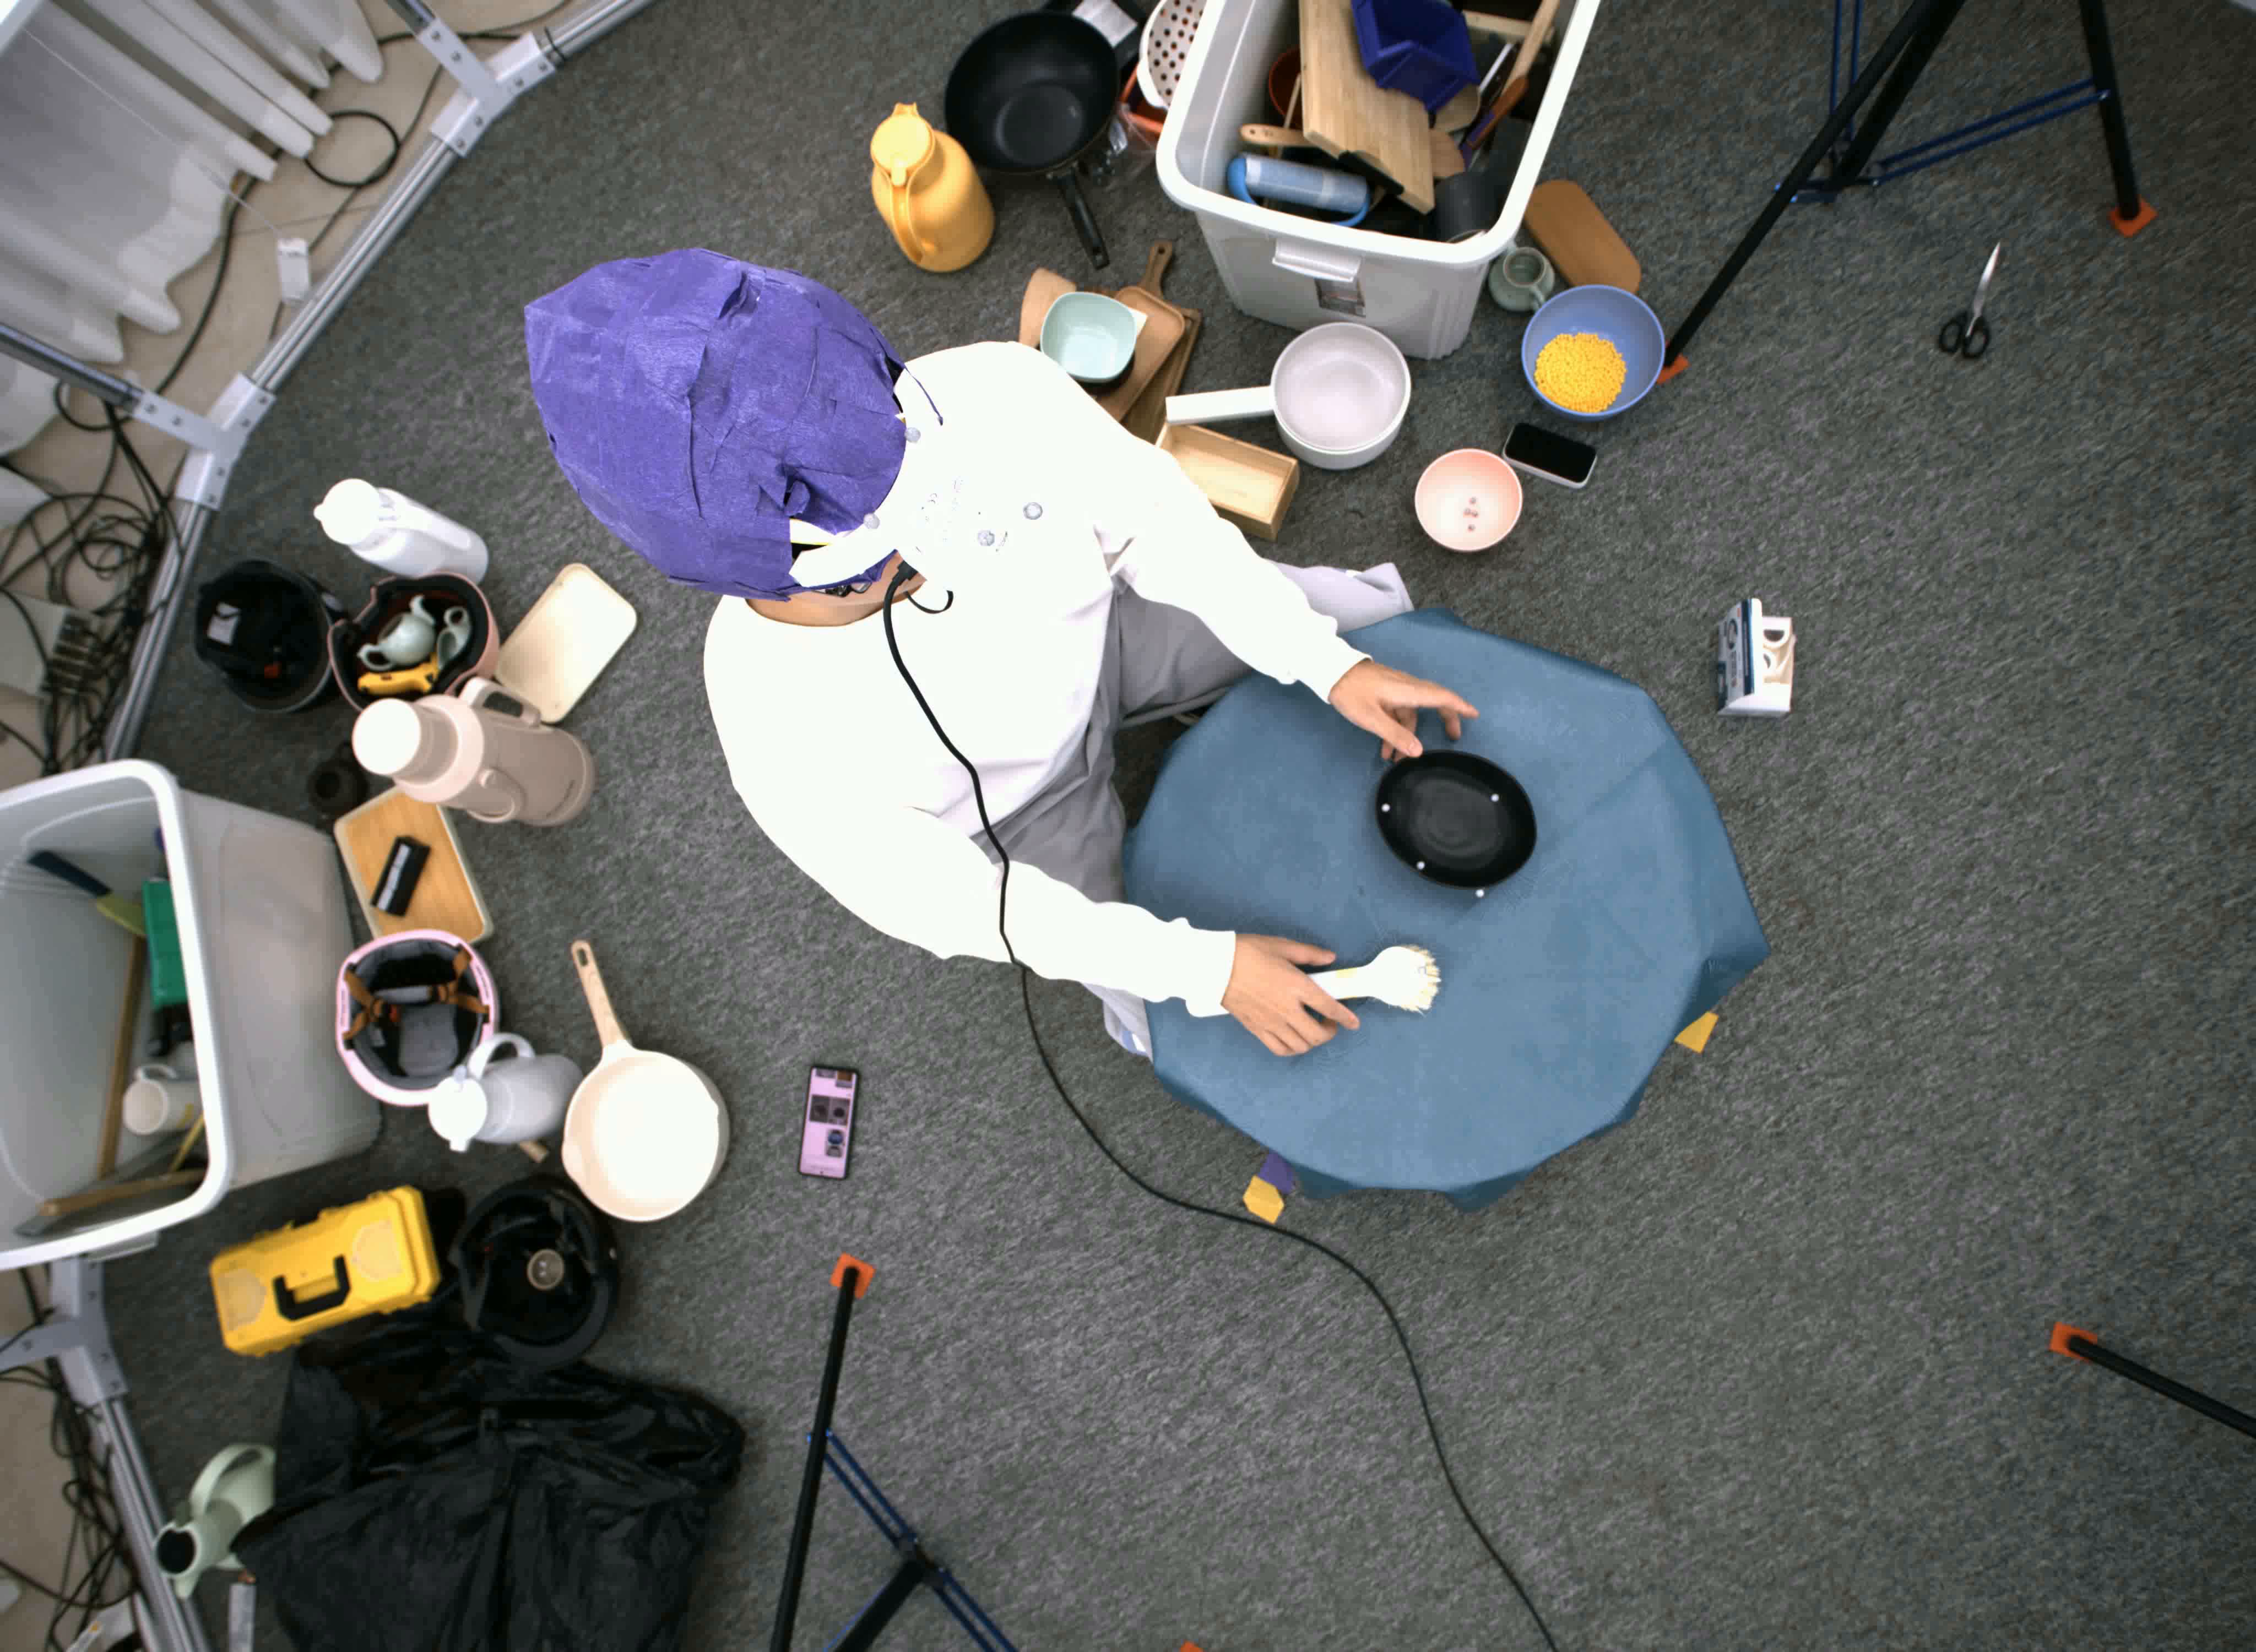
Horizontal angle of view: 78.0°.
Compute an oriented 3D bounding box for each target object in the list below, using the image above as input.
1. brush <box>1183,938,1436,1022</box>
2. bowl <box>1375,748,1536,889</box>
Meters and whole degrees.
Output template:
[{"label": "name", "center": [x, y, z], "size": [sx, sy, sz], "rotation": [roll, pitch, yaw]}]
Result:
[{"label": "brush", "center": [0.190, 0.169, 1.456], "size": [0.269, 0.056, 0.067], "rotation": [-15, 69, 20]}, {"label": "bowl", "center": [0.336, -0.007, 1.420], "size": [0.170, 0.067, 0.137], "rotation": [27, 91, 14]}]
